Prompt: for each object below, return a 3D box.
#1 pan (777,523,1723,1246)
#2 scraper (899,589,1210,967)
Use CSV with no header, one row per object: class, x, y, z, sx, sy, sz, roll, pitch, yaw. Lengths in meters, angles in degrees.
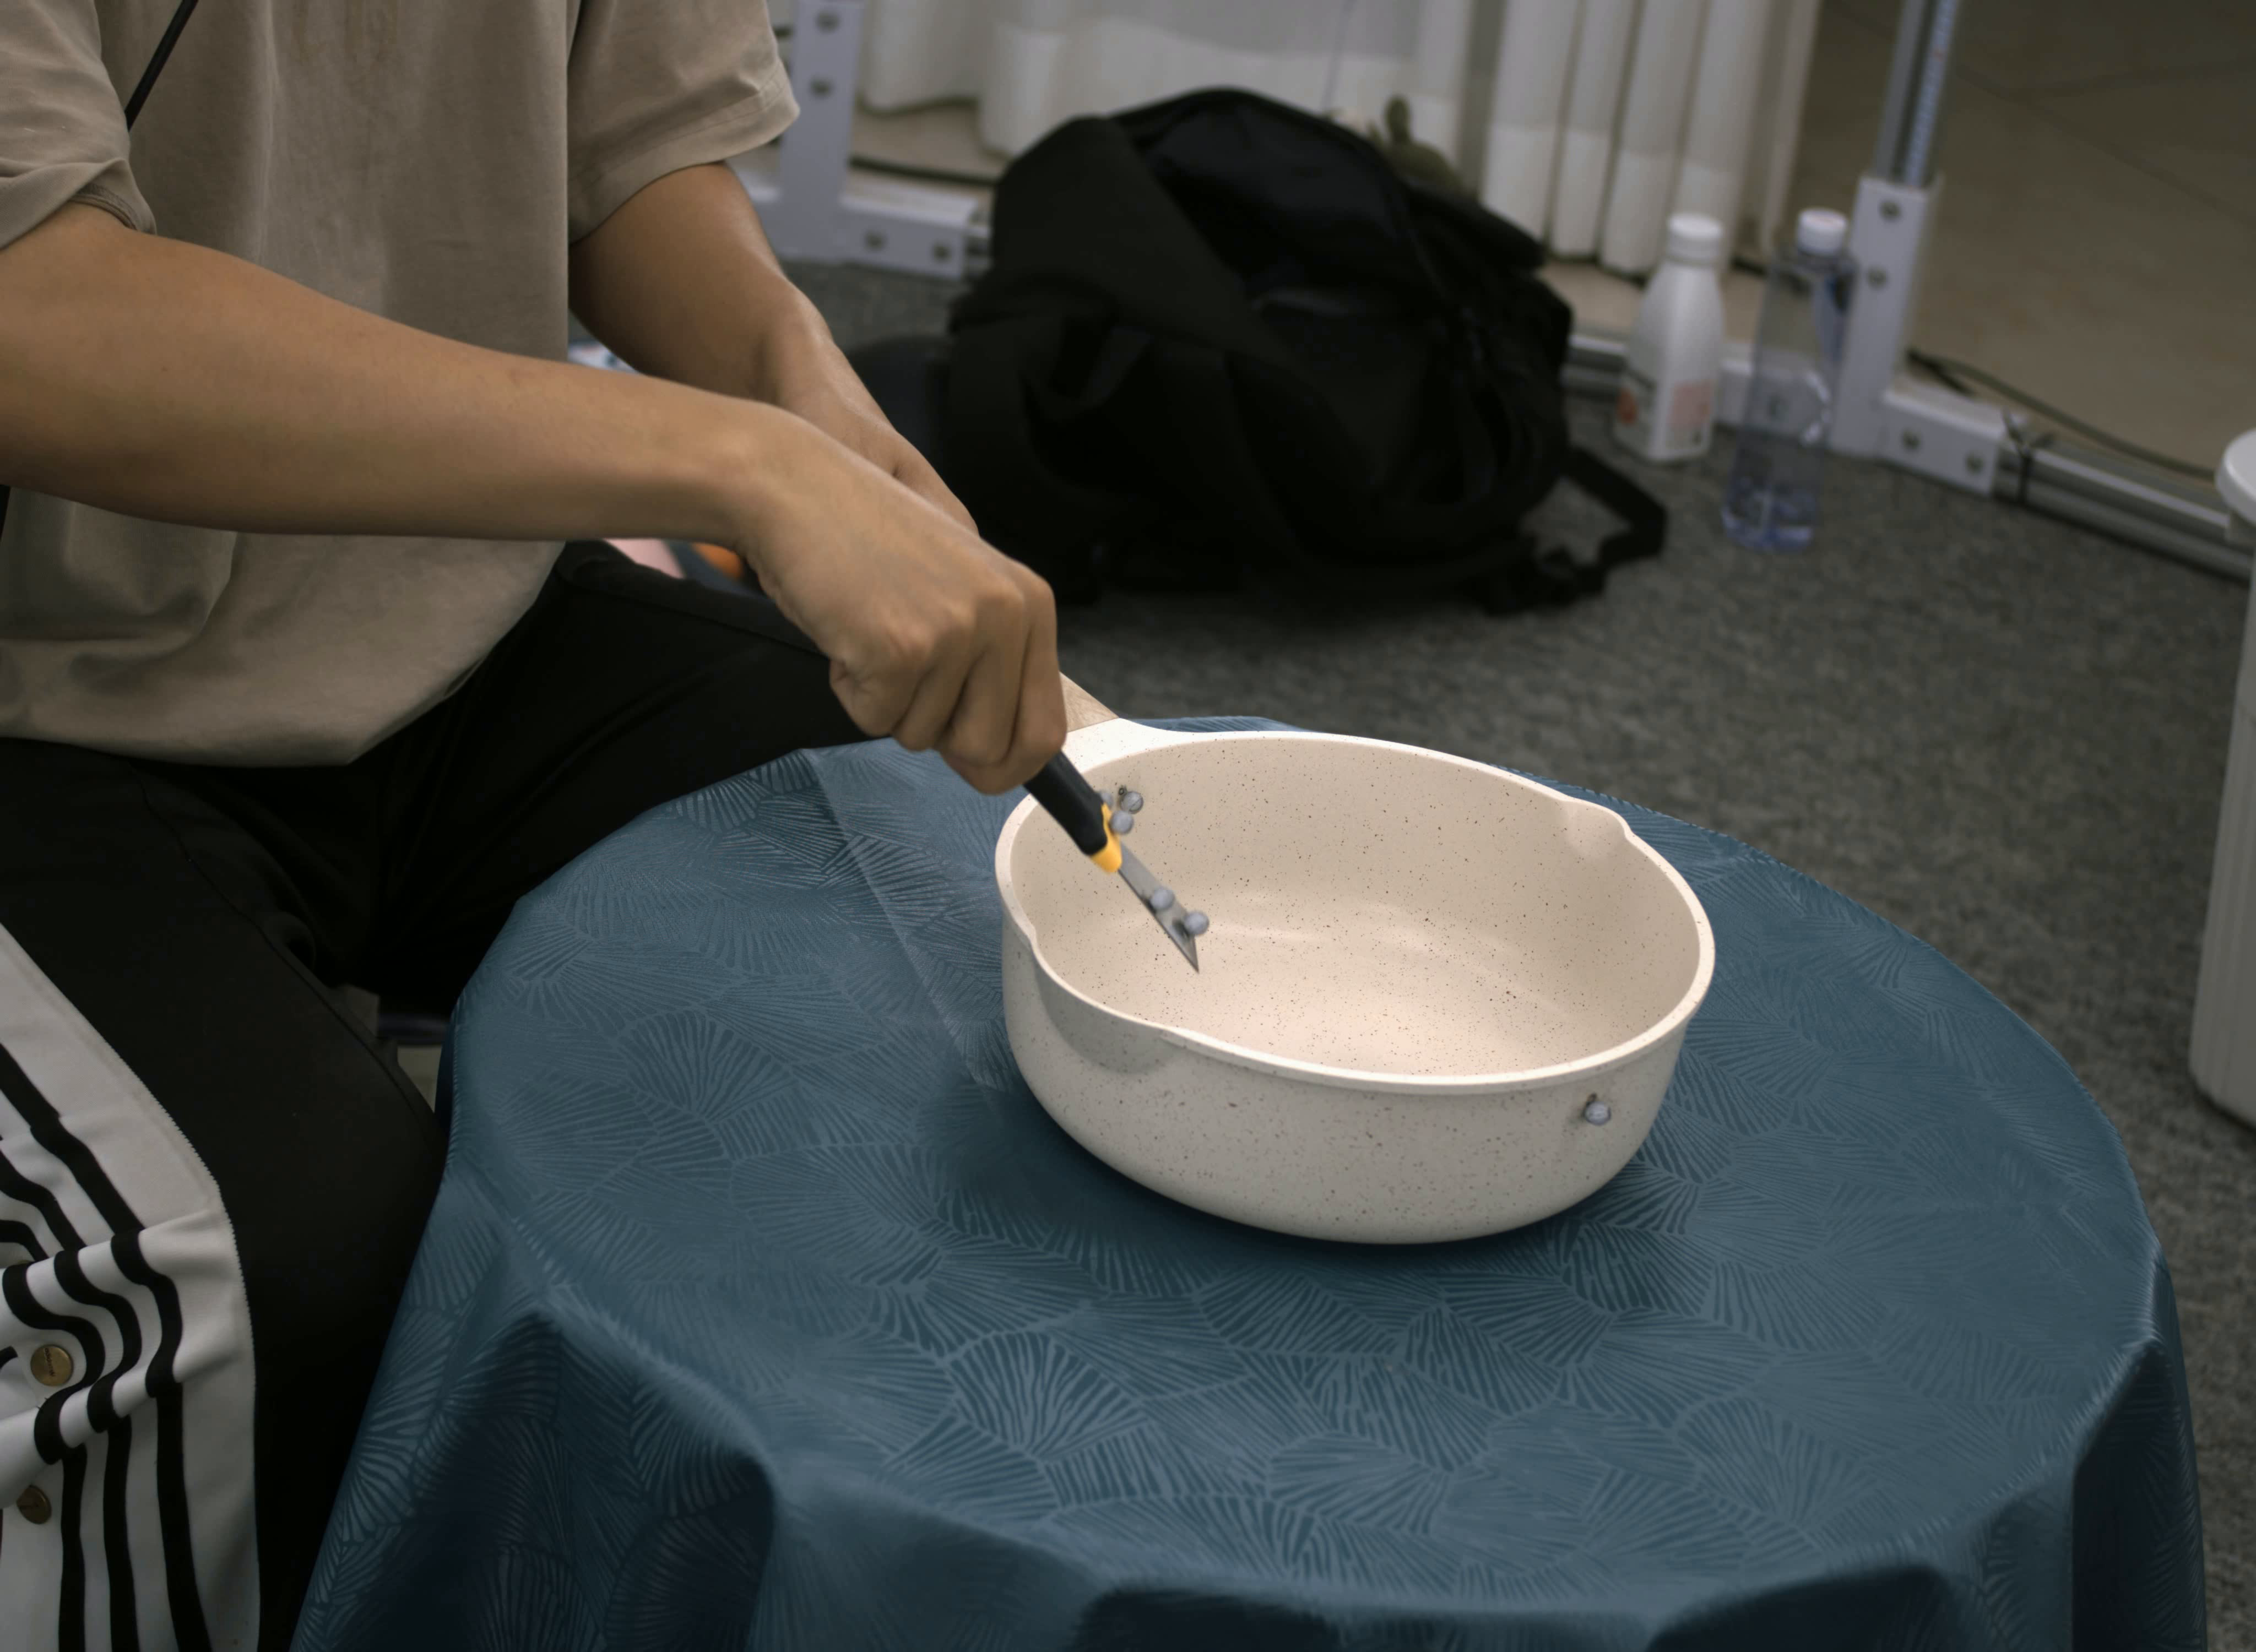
pan,0.017,0.016,1.916,0.262,0.101,0.438,-20,37,-38
scraper,-0.023,-0.017,1.779,0.015,0.169,0.039,-30,31,20
